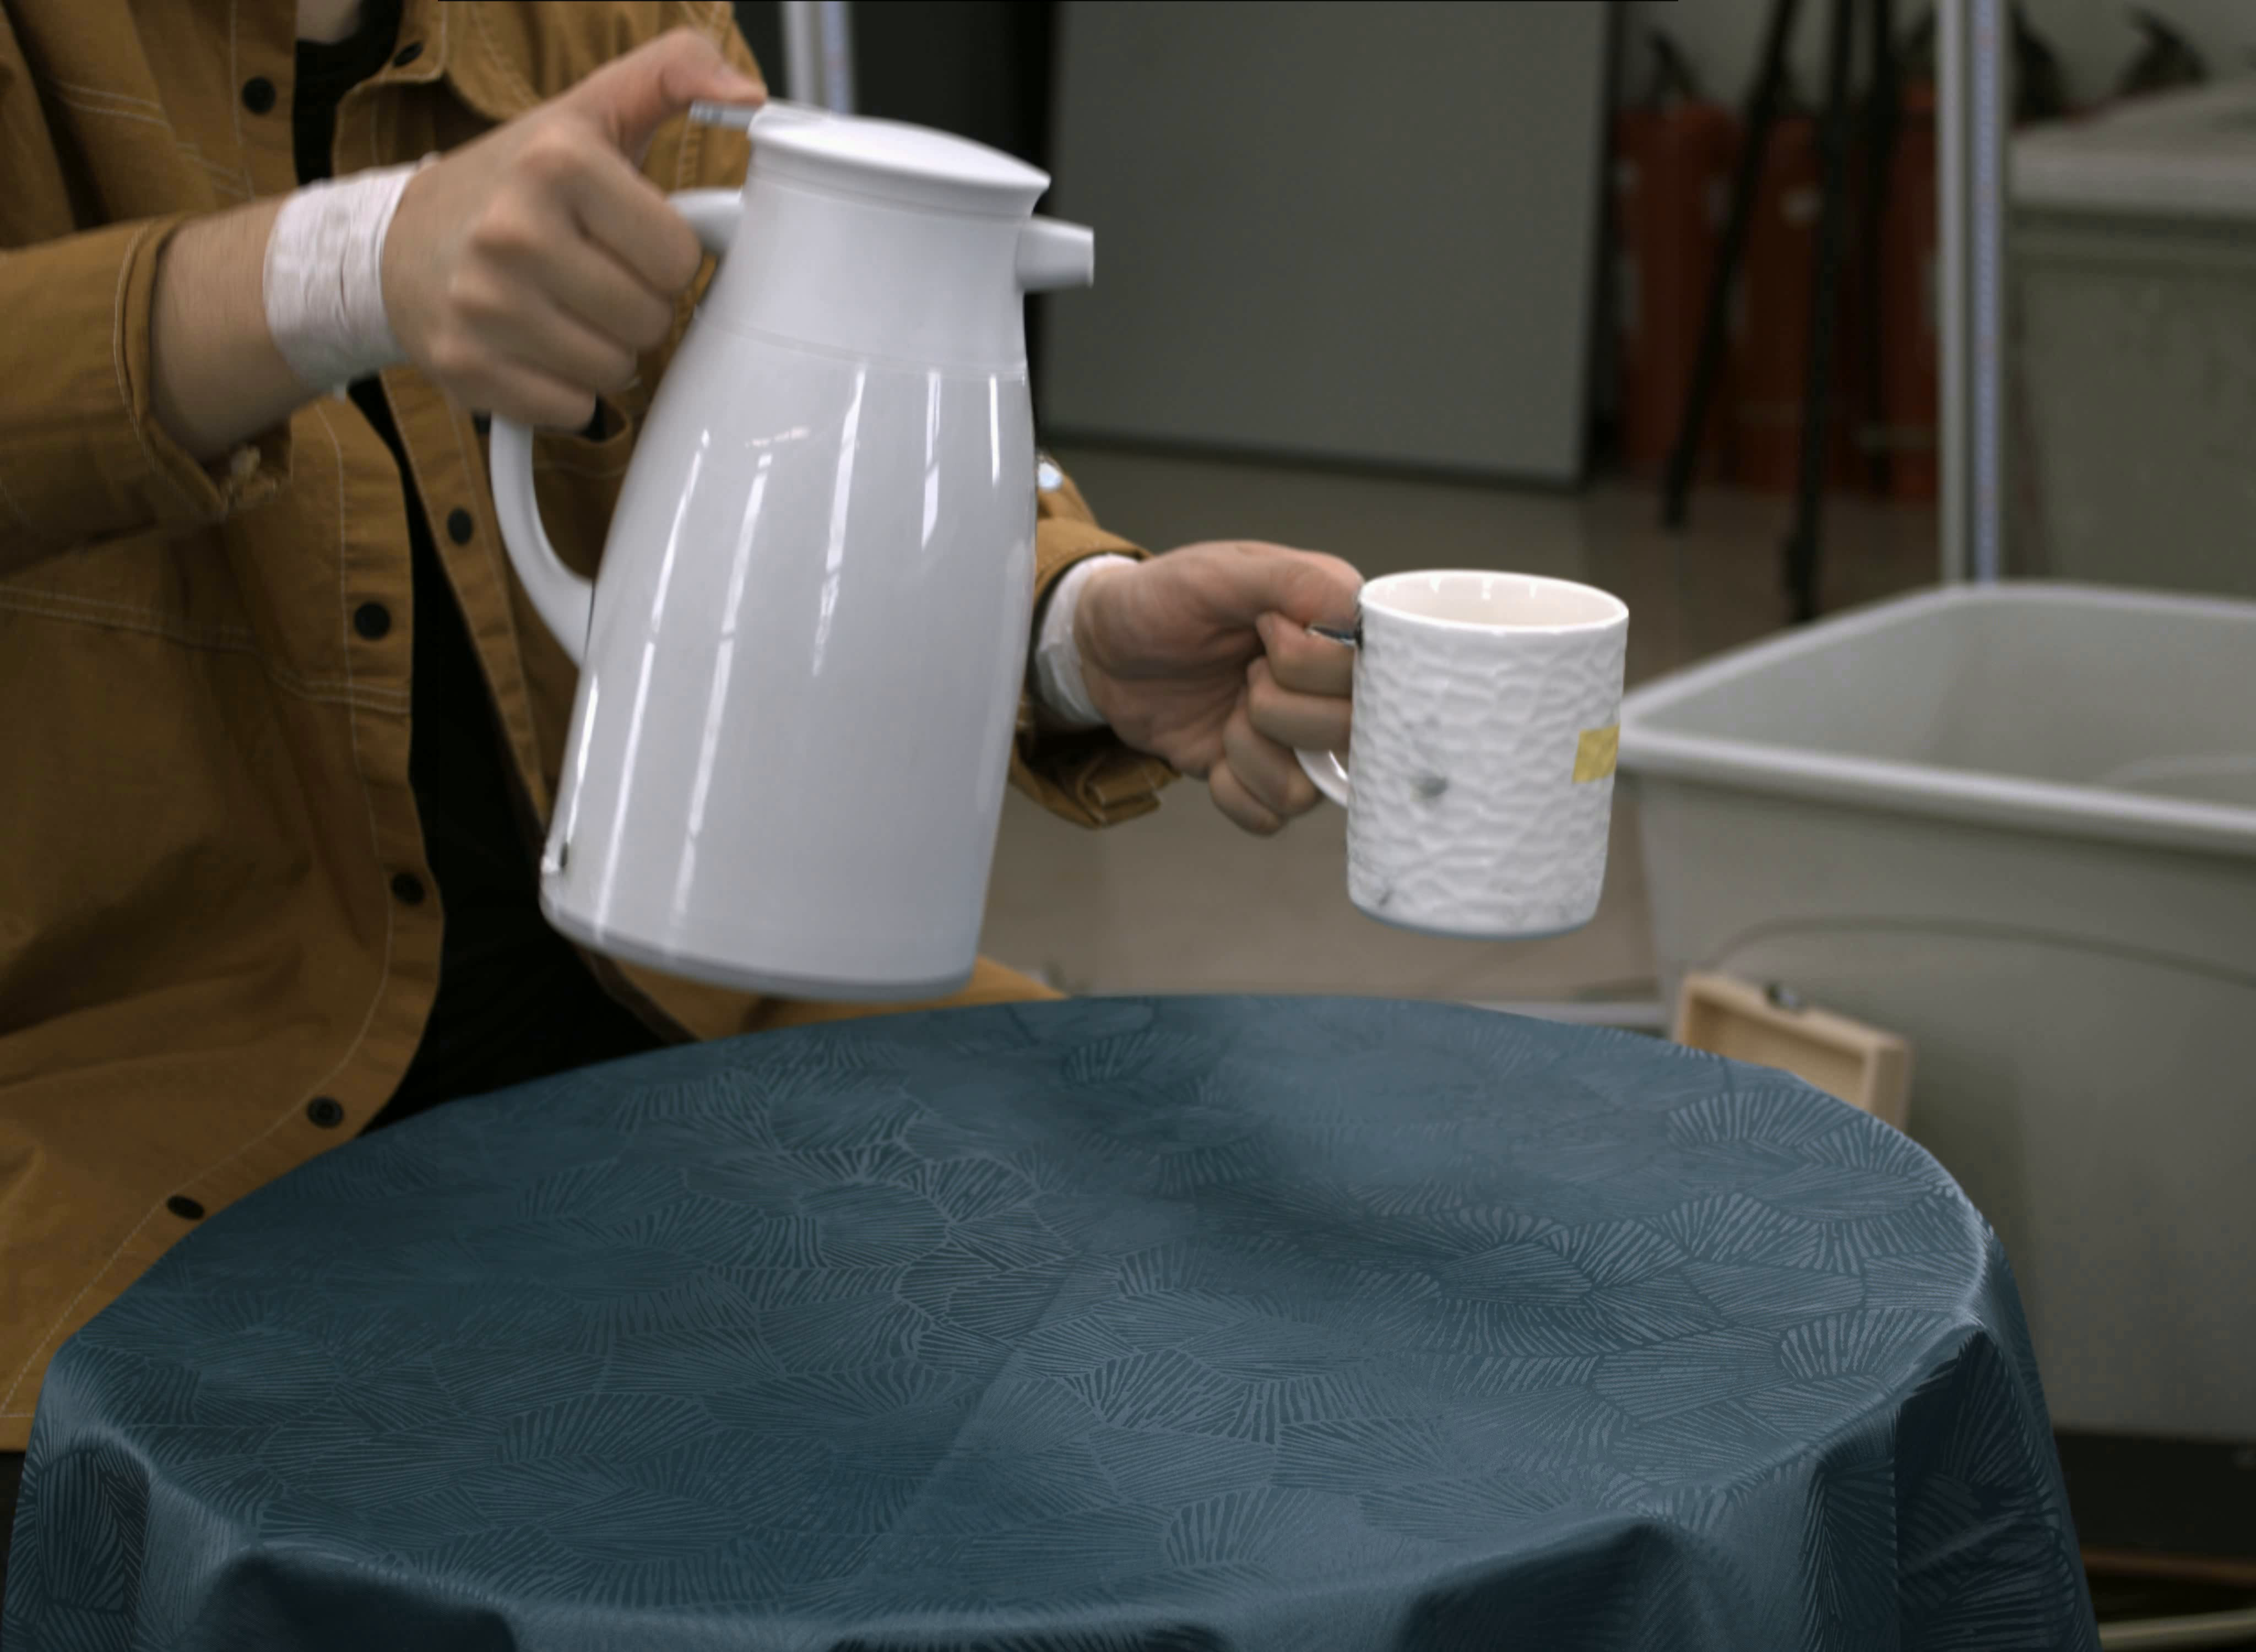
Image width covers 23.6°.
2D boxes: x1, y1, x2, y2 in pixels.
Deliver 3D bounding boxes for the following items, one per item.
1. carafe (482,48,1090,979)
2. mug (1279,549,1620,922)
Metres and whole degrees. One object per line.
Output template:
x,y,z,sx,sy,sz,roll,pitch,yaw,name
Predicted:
-0.109,-0.097,1.580,0.165,0.251,0.133,10,11,-4,carafe
0.097,-0.031,1.704,0.119,0.103,0.083,12,16,38,mug
